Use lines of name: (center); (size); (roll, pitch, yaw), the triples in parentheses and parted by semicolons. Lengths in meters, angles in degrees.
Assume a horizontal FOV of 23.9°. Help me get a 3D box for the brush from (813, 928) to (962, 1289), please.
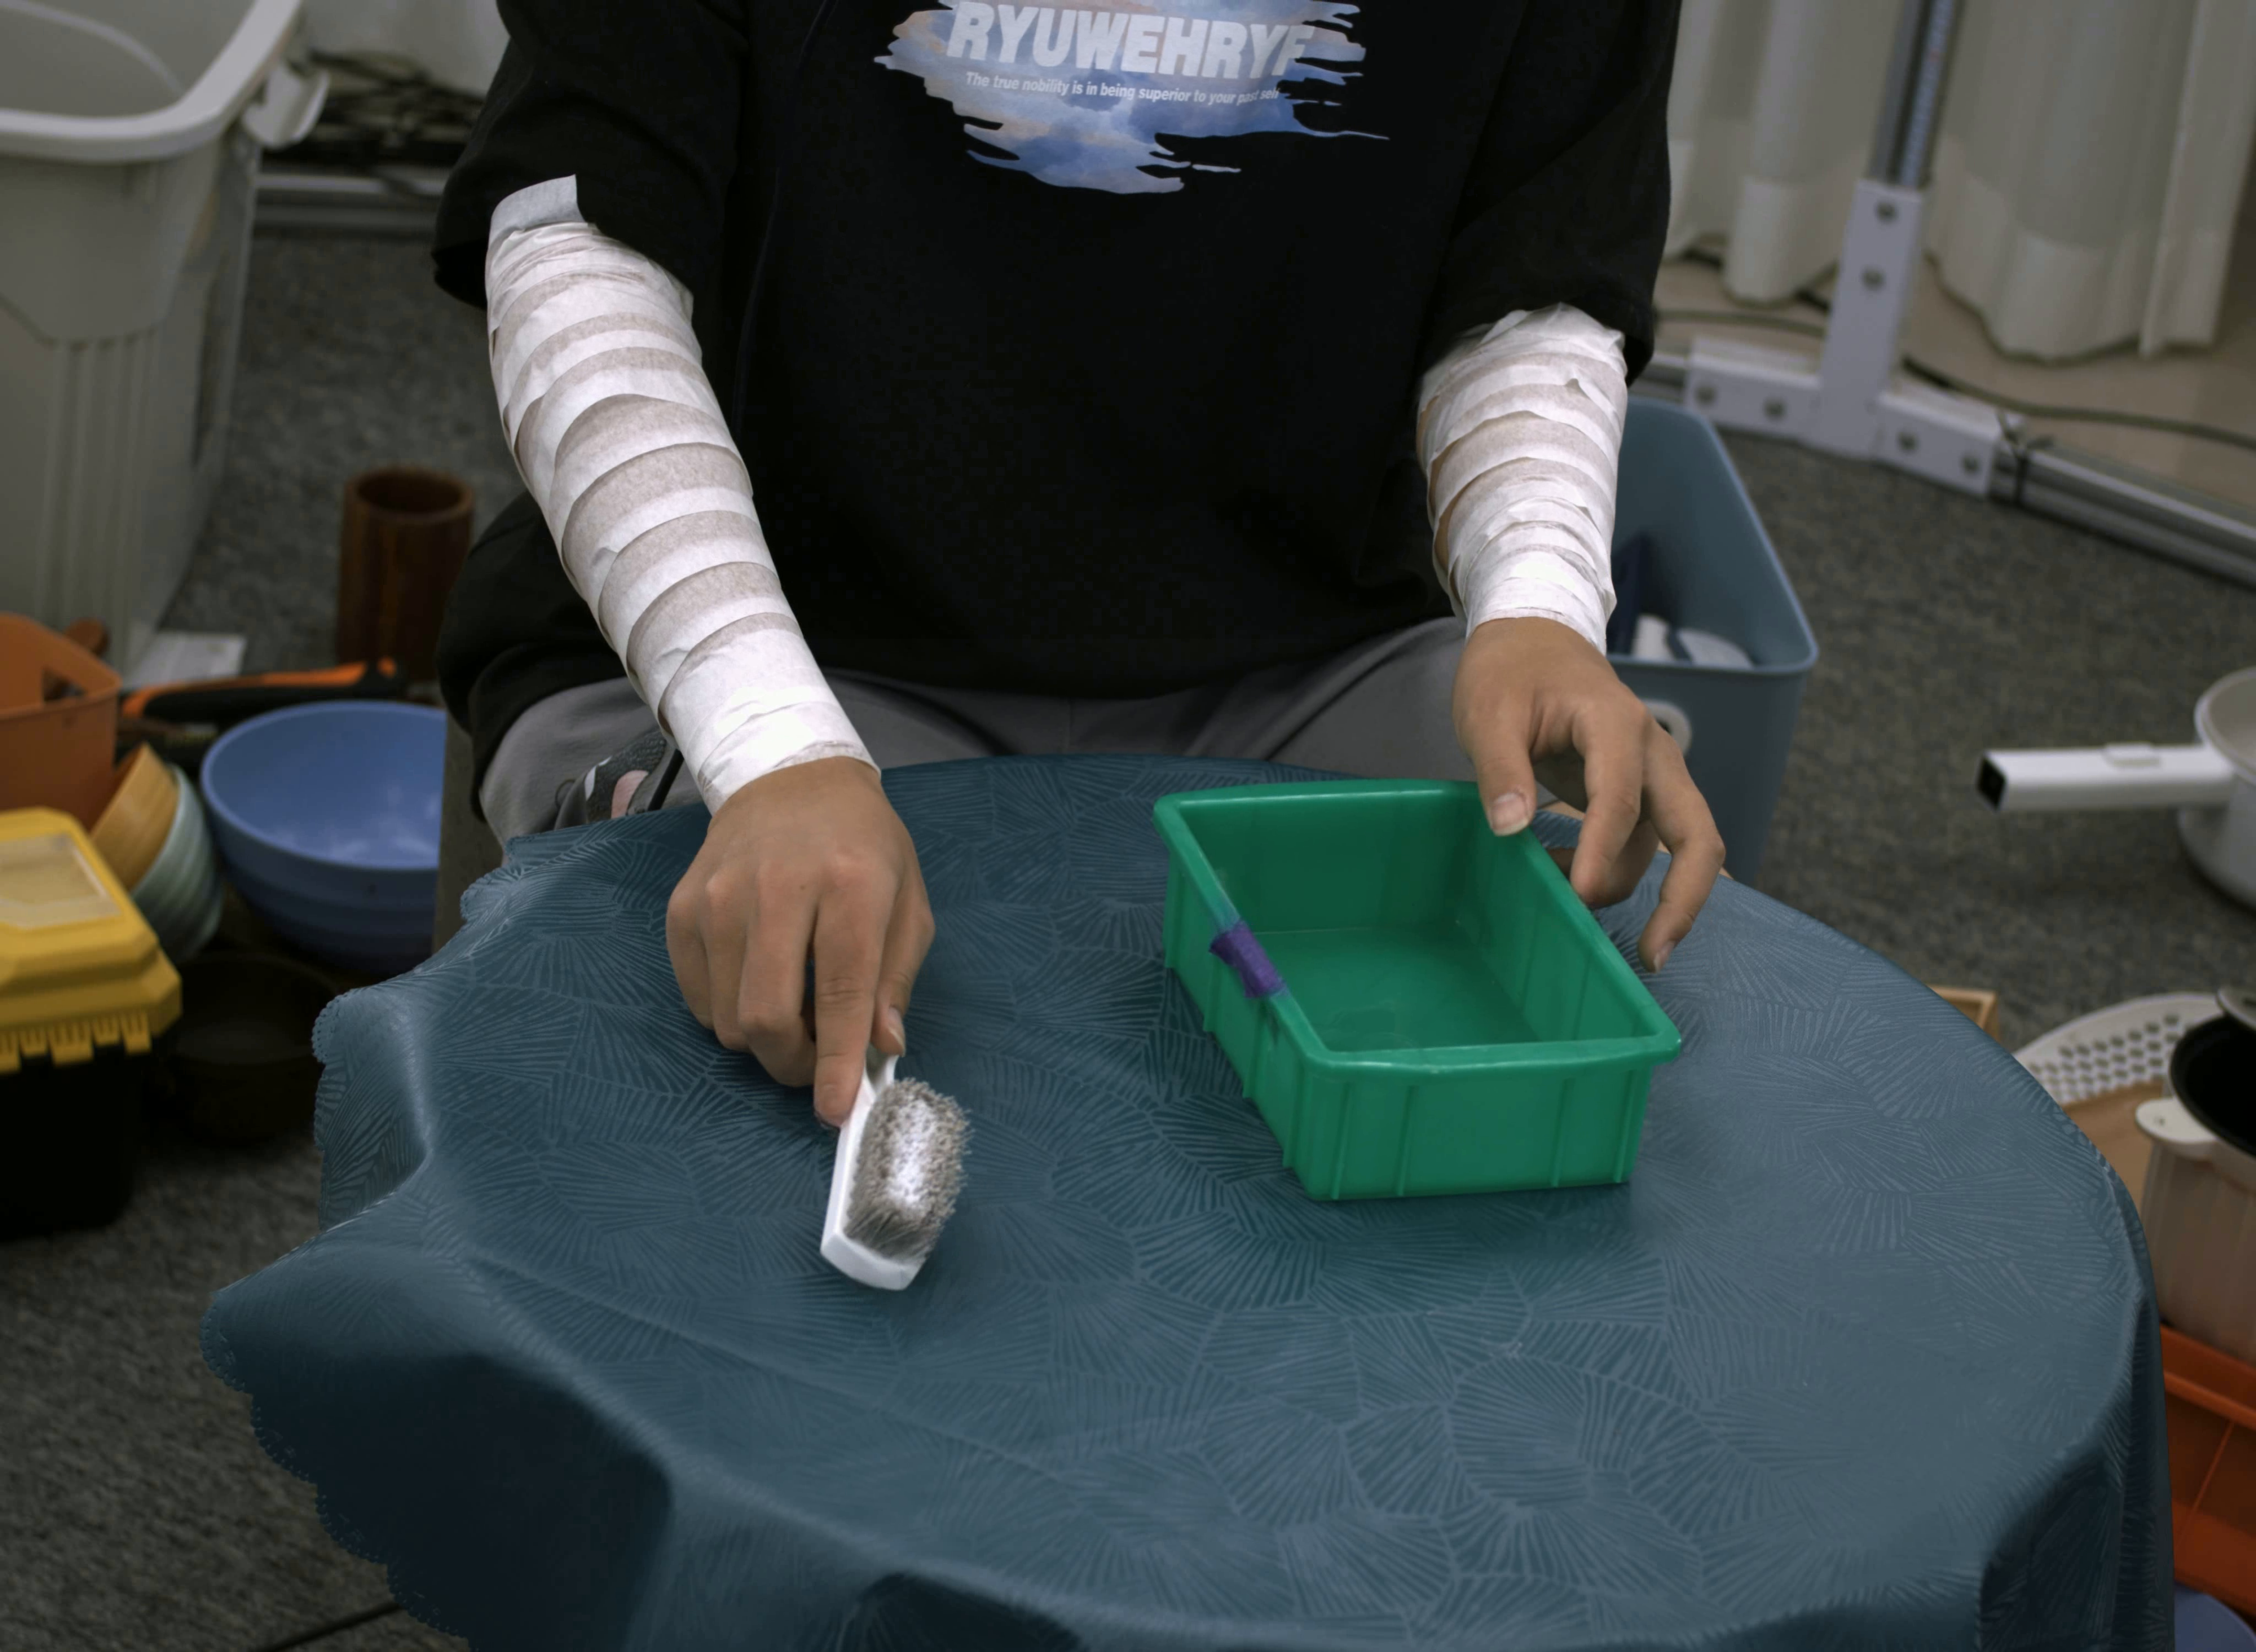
brush: (-0.080, 0.080, 1.817); (0.034, 0.050, 0.245); (27, 22, -14)

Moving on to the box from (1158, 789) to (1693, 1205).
box: (0.099, 0.060, 1.884); (0.138, 0.065, 0.212); (-5, 28, -17)
